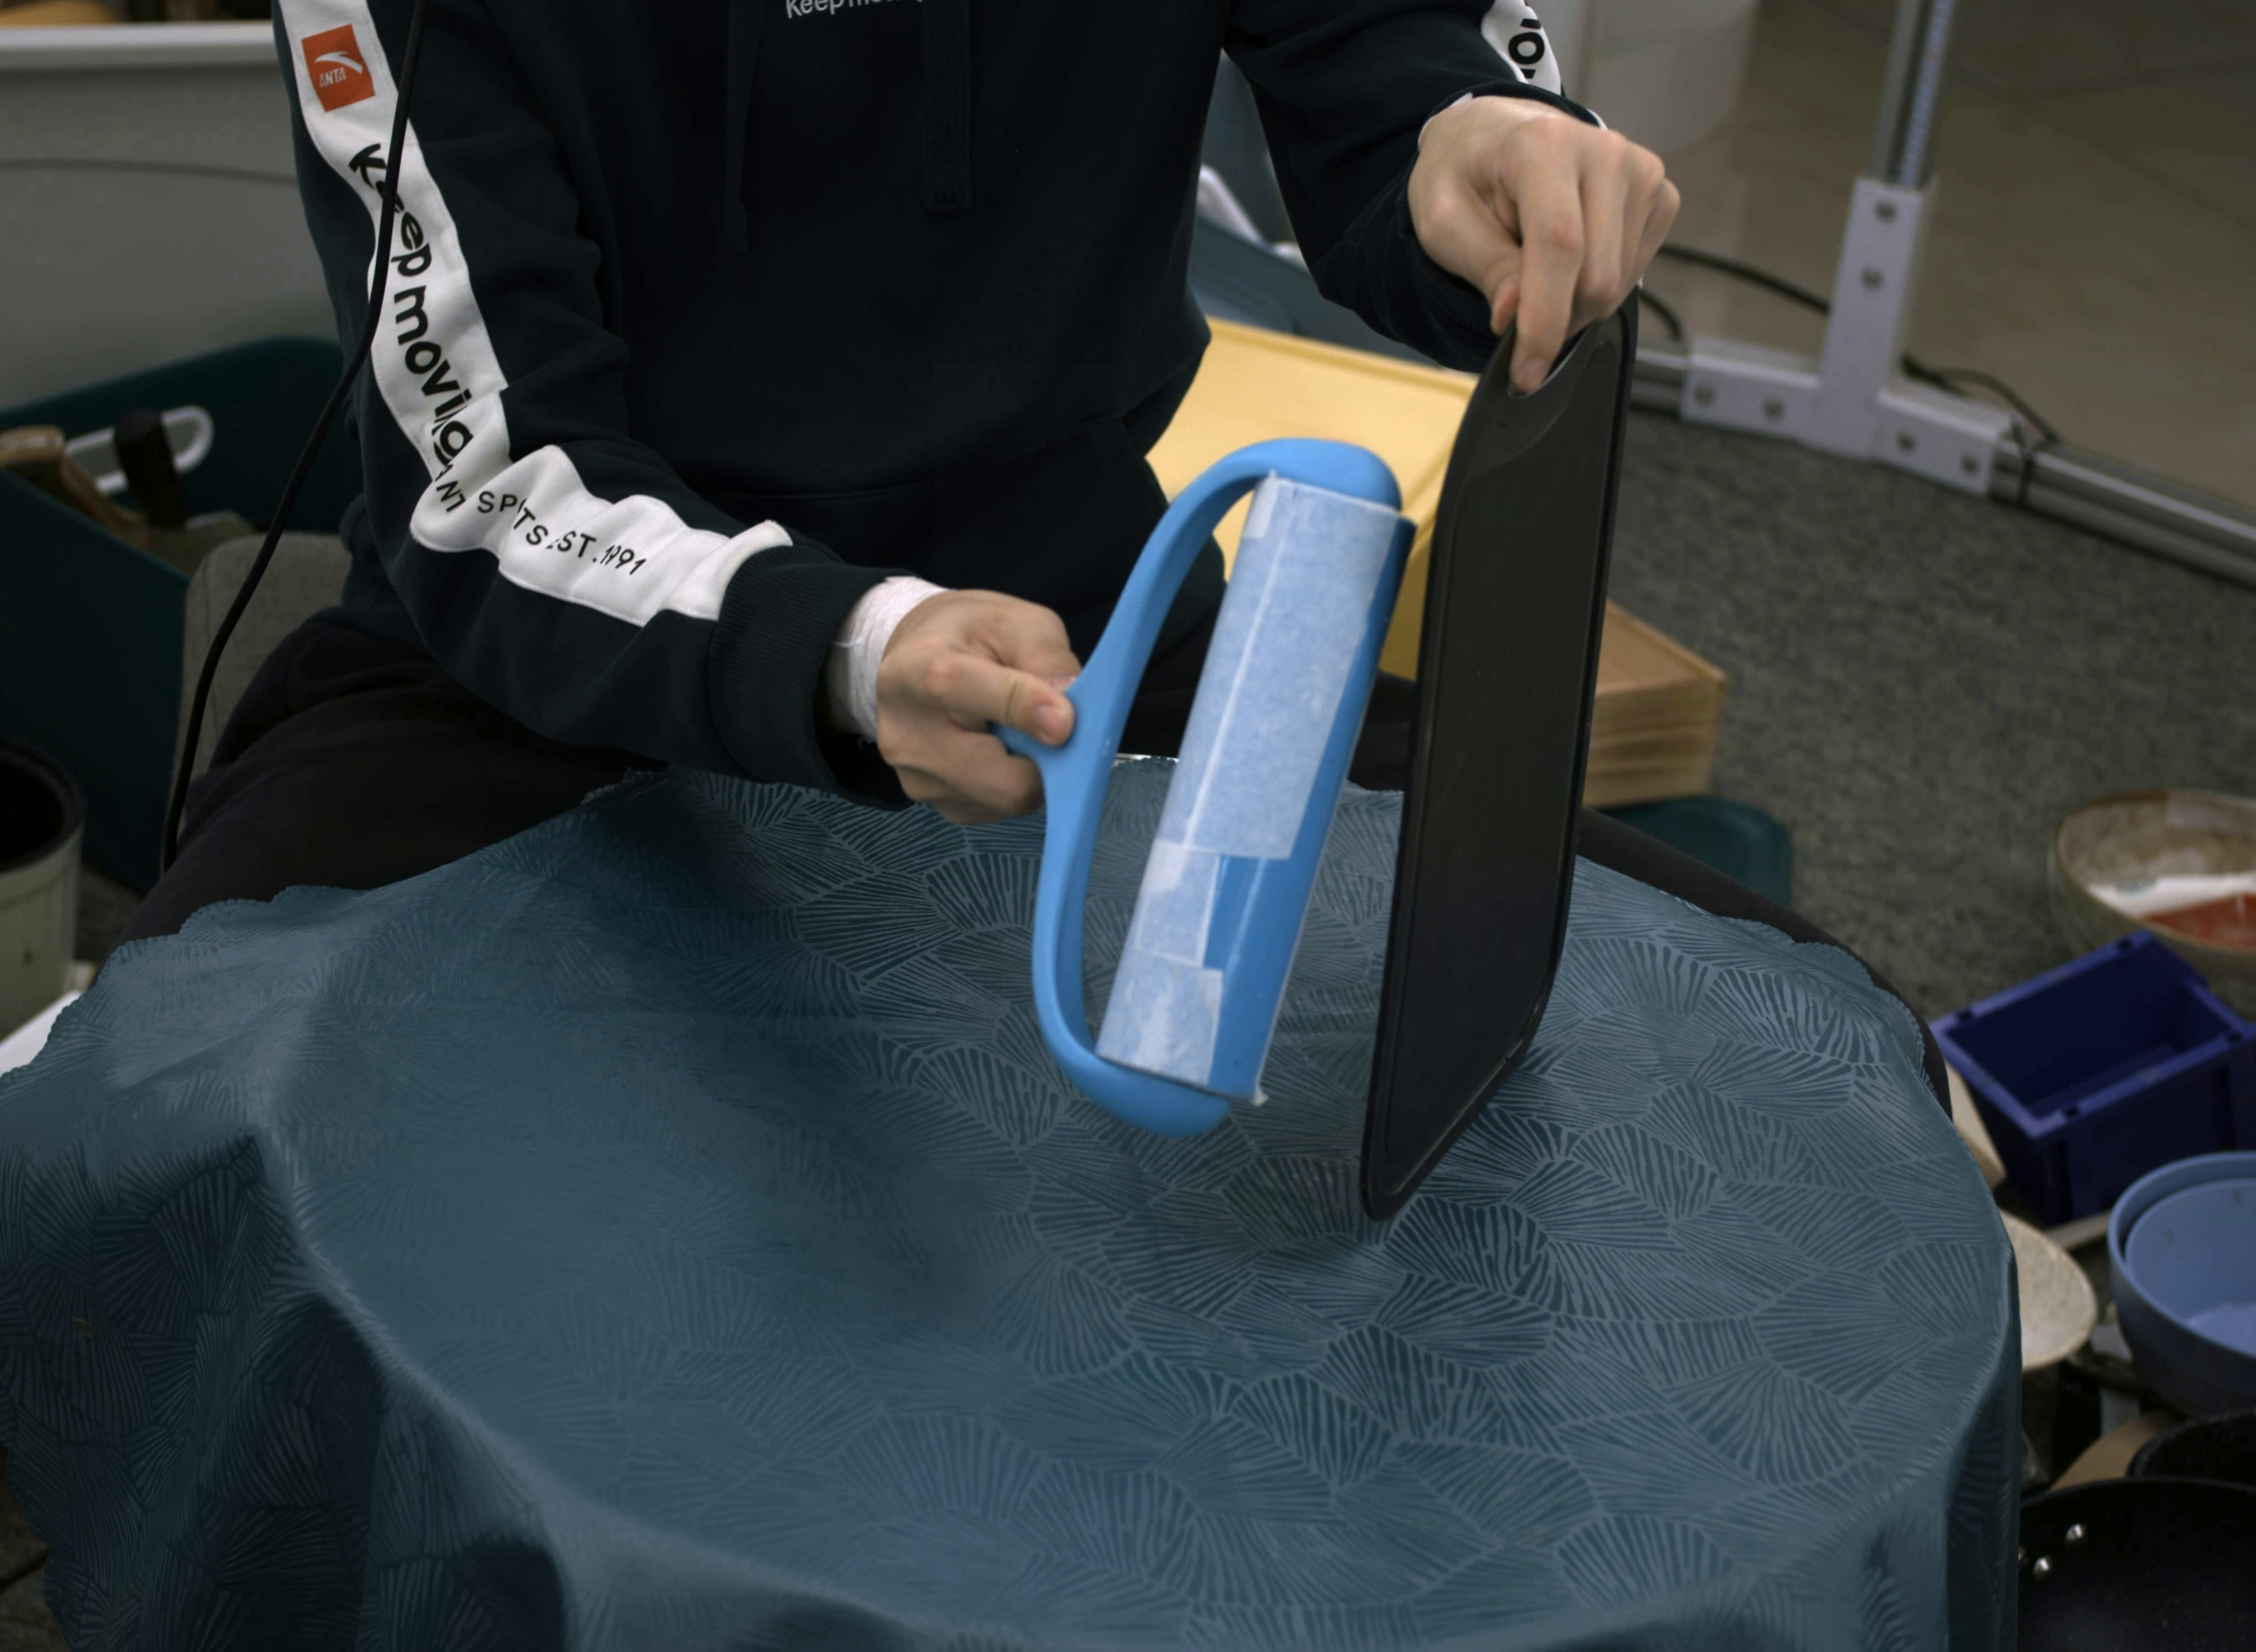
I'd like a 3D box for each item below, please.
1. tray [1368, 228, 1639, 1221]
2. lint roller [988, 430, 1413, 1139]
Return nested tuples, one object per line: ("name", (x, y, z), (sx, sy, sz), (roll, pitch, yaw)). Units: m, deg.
("tray", (0.128, -0.038, 1.783), (0.010, 0.324, 0.211), (13, 25, 19))
("lint roller", (-0.001, -0.021, 1.729), (0.067, 0.229, 0.181), (15, -3, -43))
